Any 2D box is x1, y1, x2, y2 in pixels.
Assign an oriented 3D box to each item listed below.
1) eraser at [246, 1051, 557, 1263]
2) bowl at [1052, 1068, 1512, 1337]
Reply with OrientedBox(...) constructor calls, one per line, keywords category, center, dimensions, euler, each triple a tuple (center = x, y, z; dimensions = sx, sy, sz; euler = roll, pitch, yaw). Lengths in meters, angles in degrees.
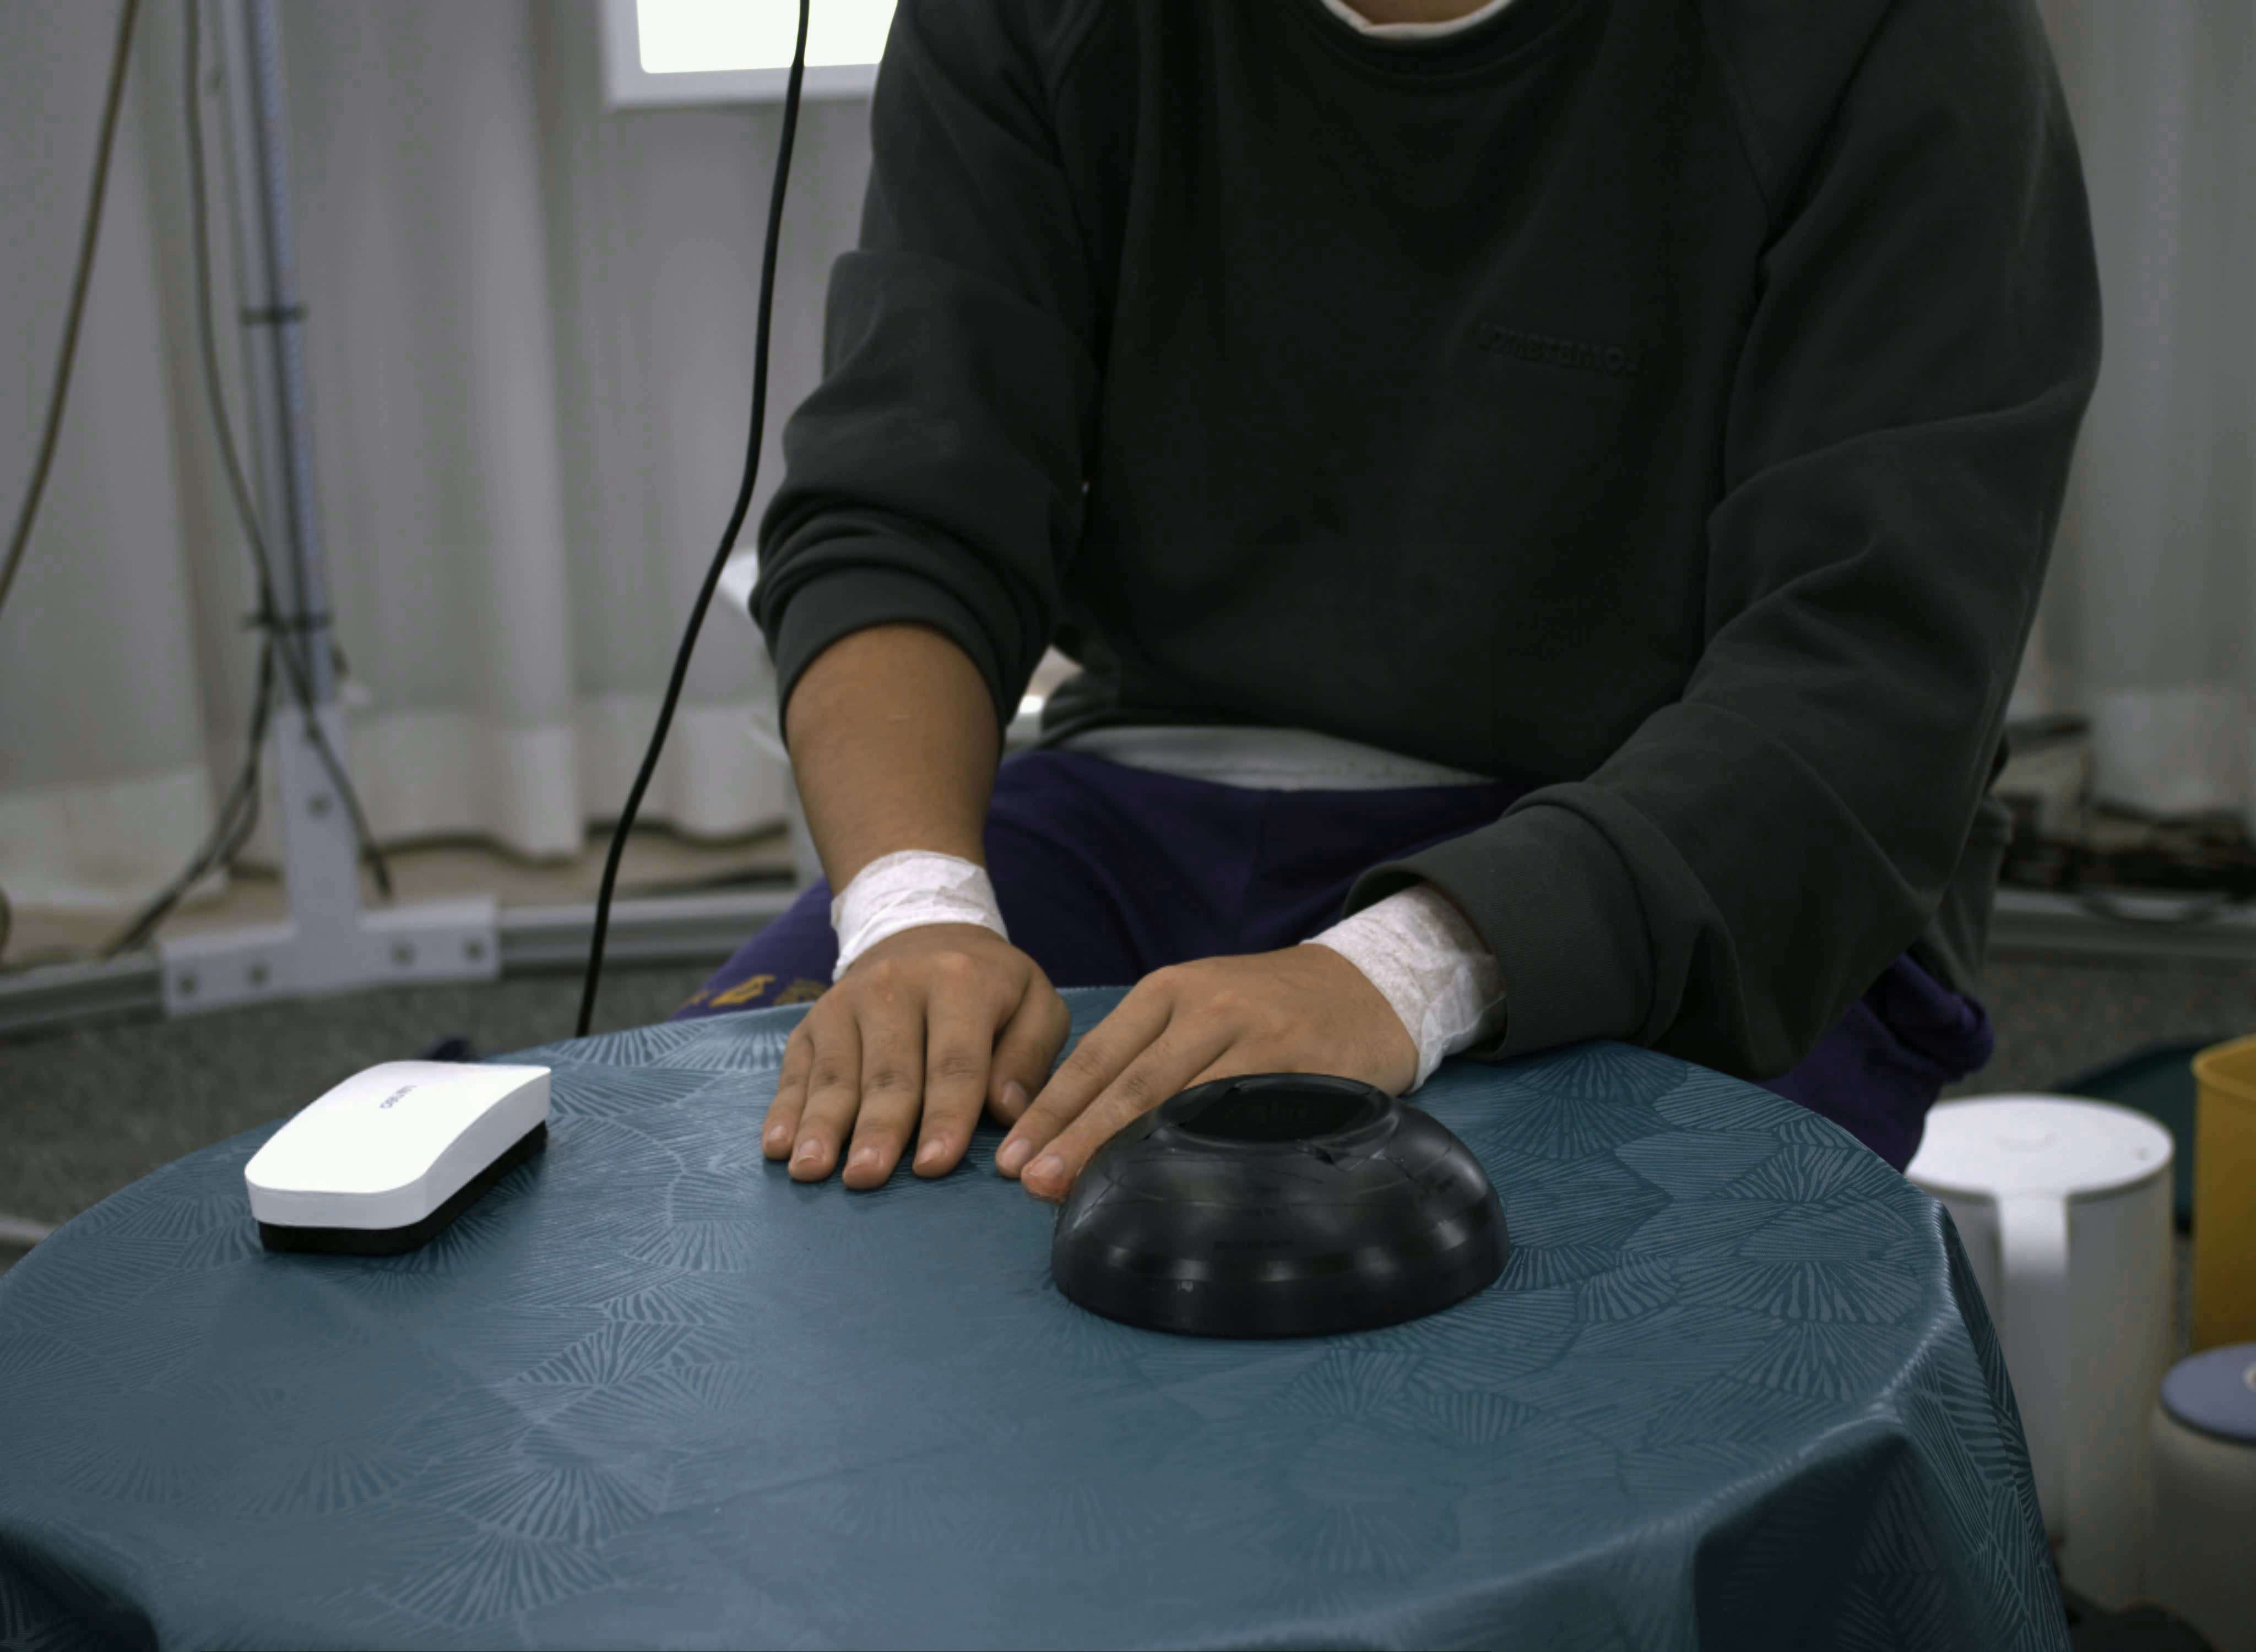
OrientedBox(category="eraser", center=(-0.229, 0.102, 1.748), dimensions=(0.063, 0.034, 0.132), euler=(3, 17, 18))
OrientedBox(category="bowl", center=(0.045, 0.106, 1.640), dimensions=(0.139, 0.049, 0.141), euler=(-4, 15, 1))
